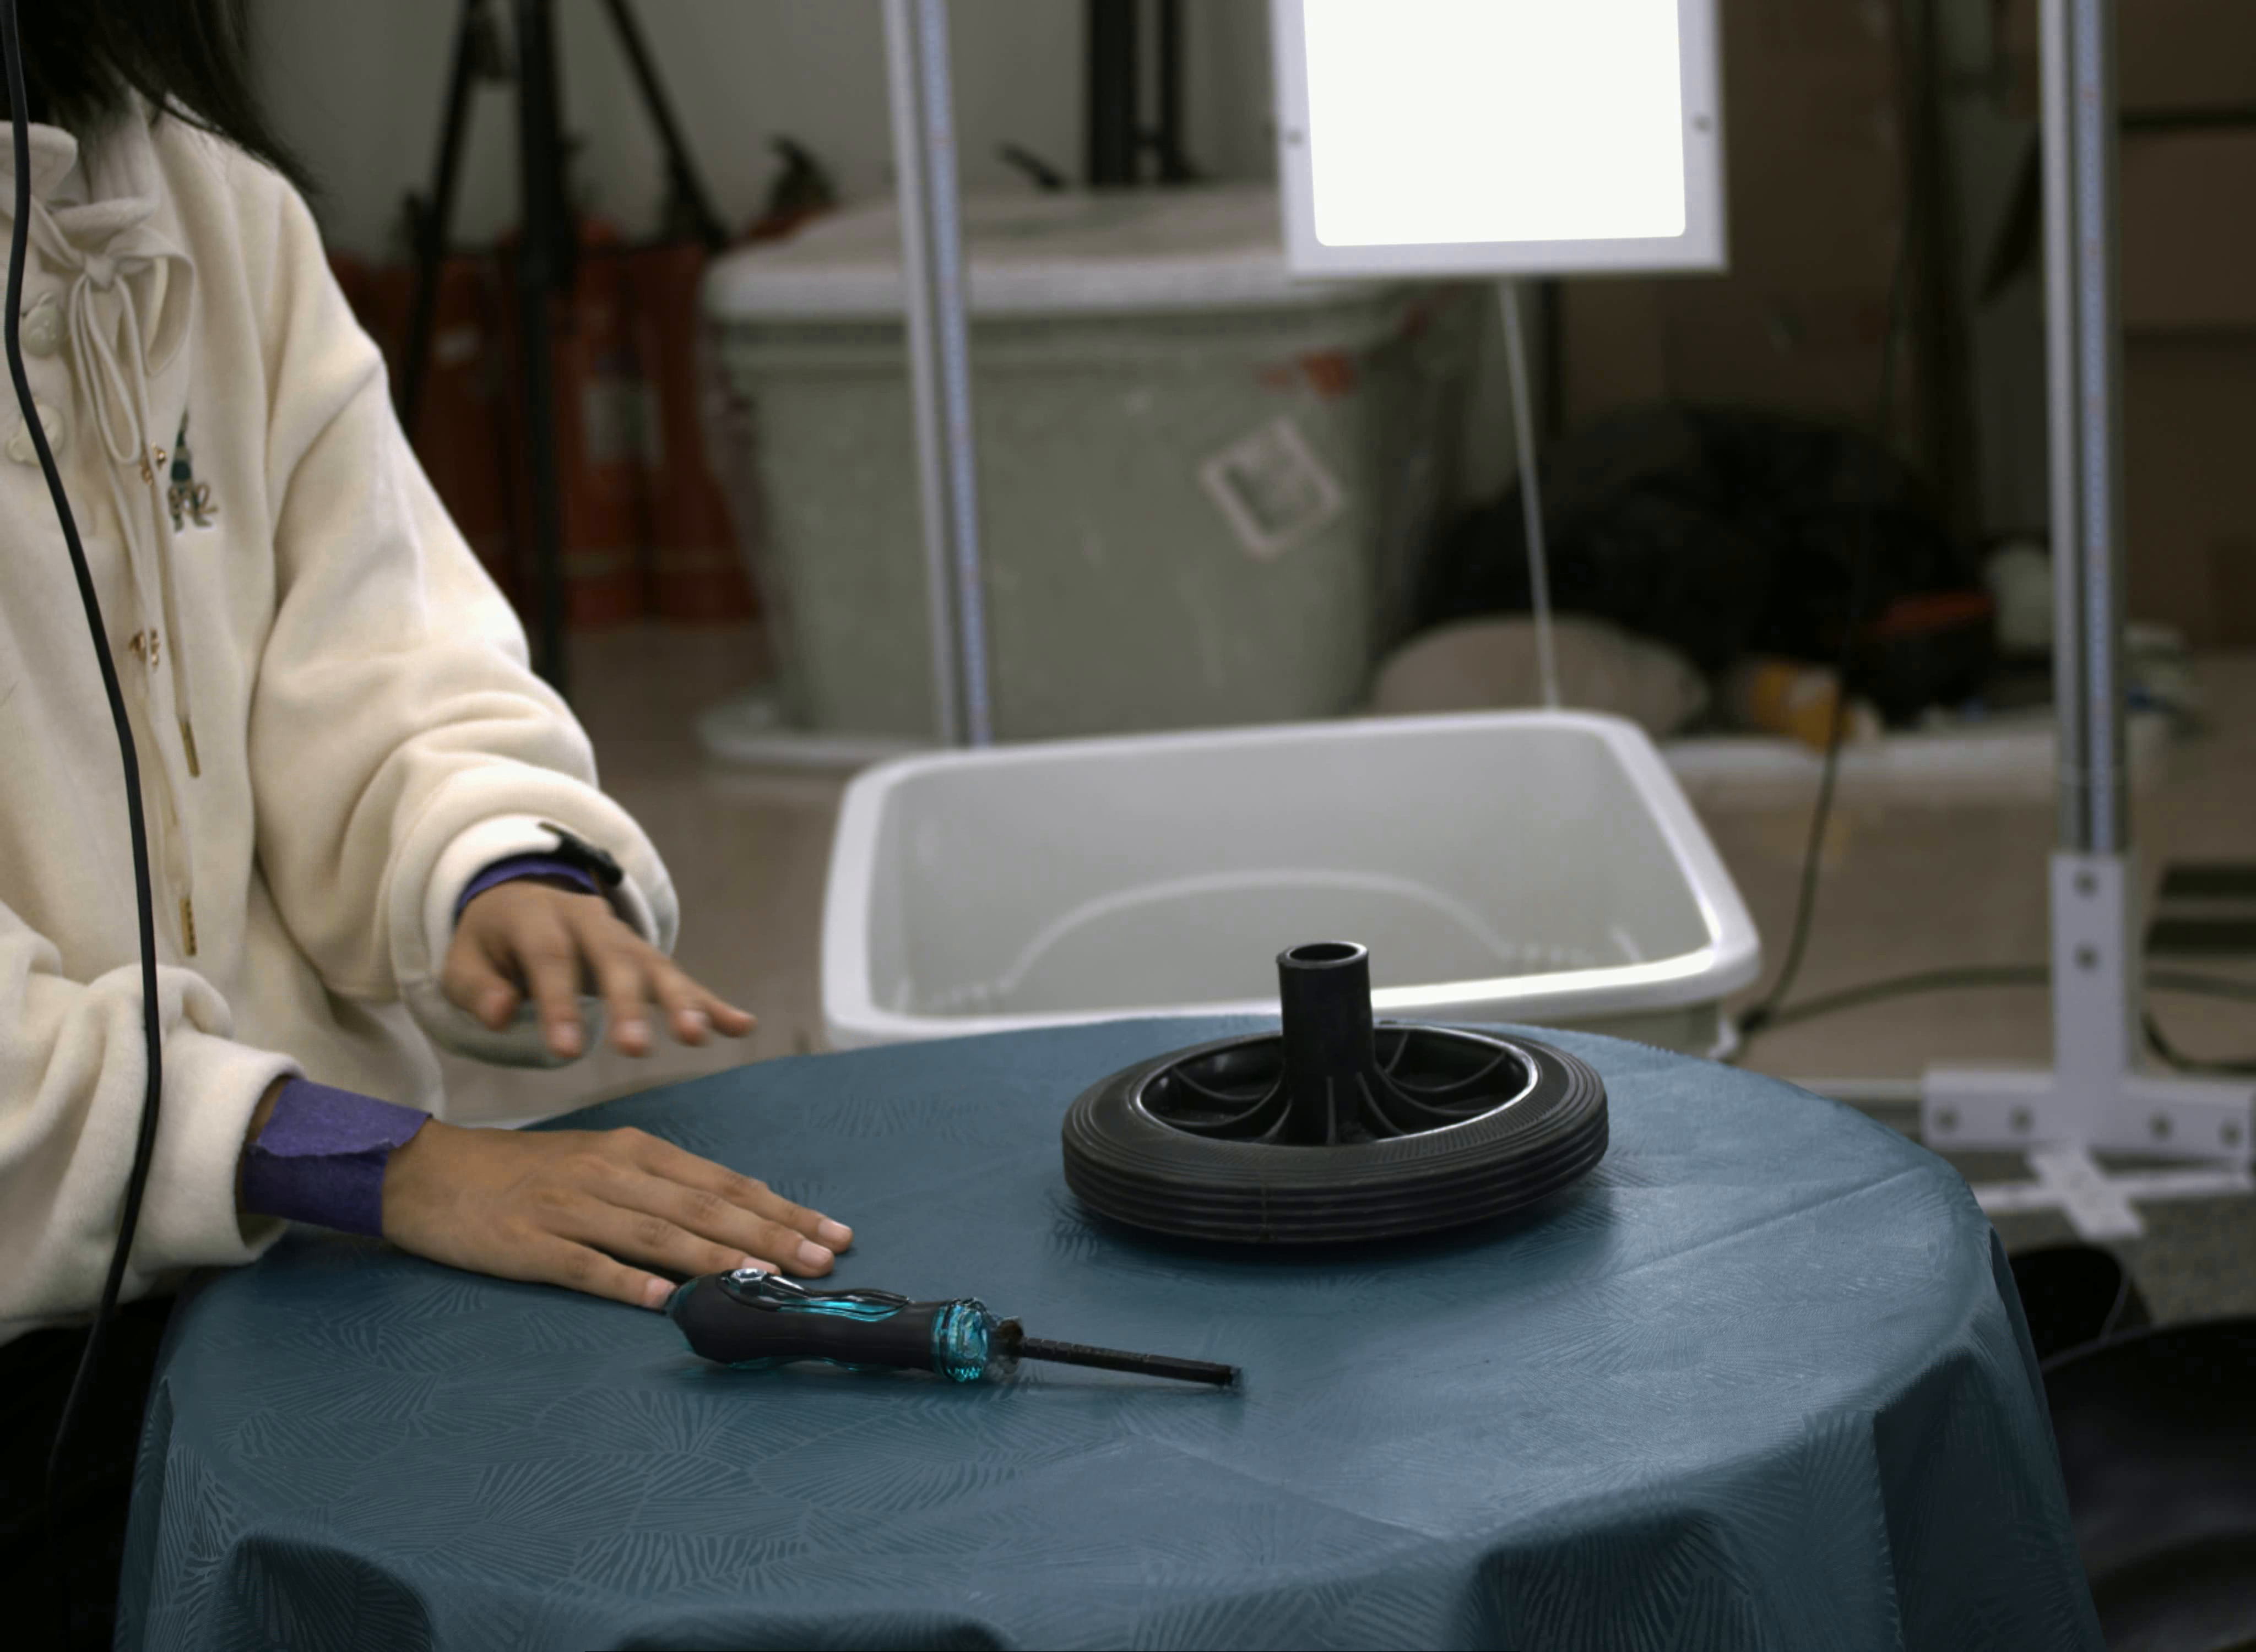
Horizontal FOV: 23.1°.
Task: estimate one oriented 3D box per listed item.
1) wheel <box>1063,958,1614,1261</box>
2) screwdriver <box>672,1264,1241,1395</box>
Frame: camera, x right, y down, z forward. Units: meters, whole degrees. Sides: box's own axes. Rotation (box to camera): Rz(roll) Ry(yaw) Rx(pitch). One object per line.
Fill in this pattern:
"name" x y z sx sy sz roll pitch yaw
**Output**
"wheel" 0.071 0.087 1.877 0.183 0.079 0.193 -15 19 -34
"screwdriver" -0.054 0.163 1.726 0.192 0.034 0.033 6 17 22
